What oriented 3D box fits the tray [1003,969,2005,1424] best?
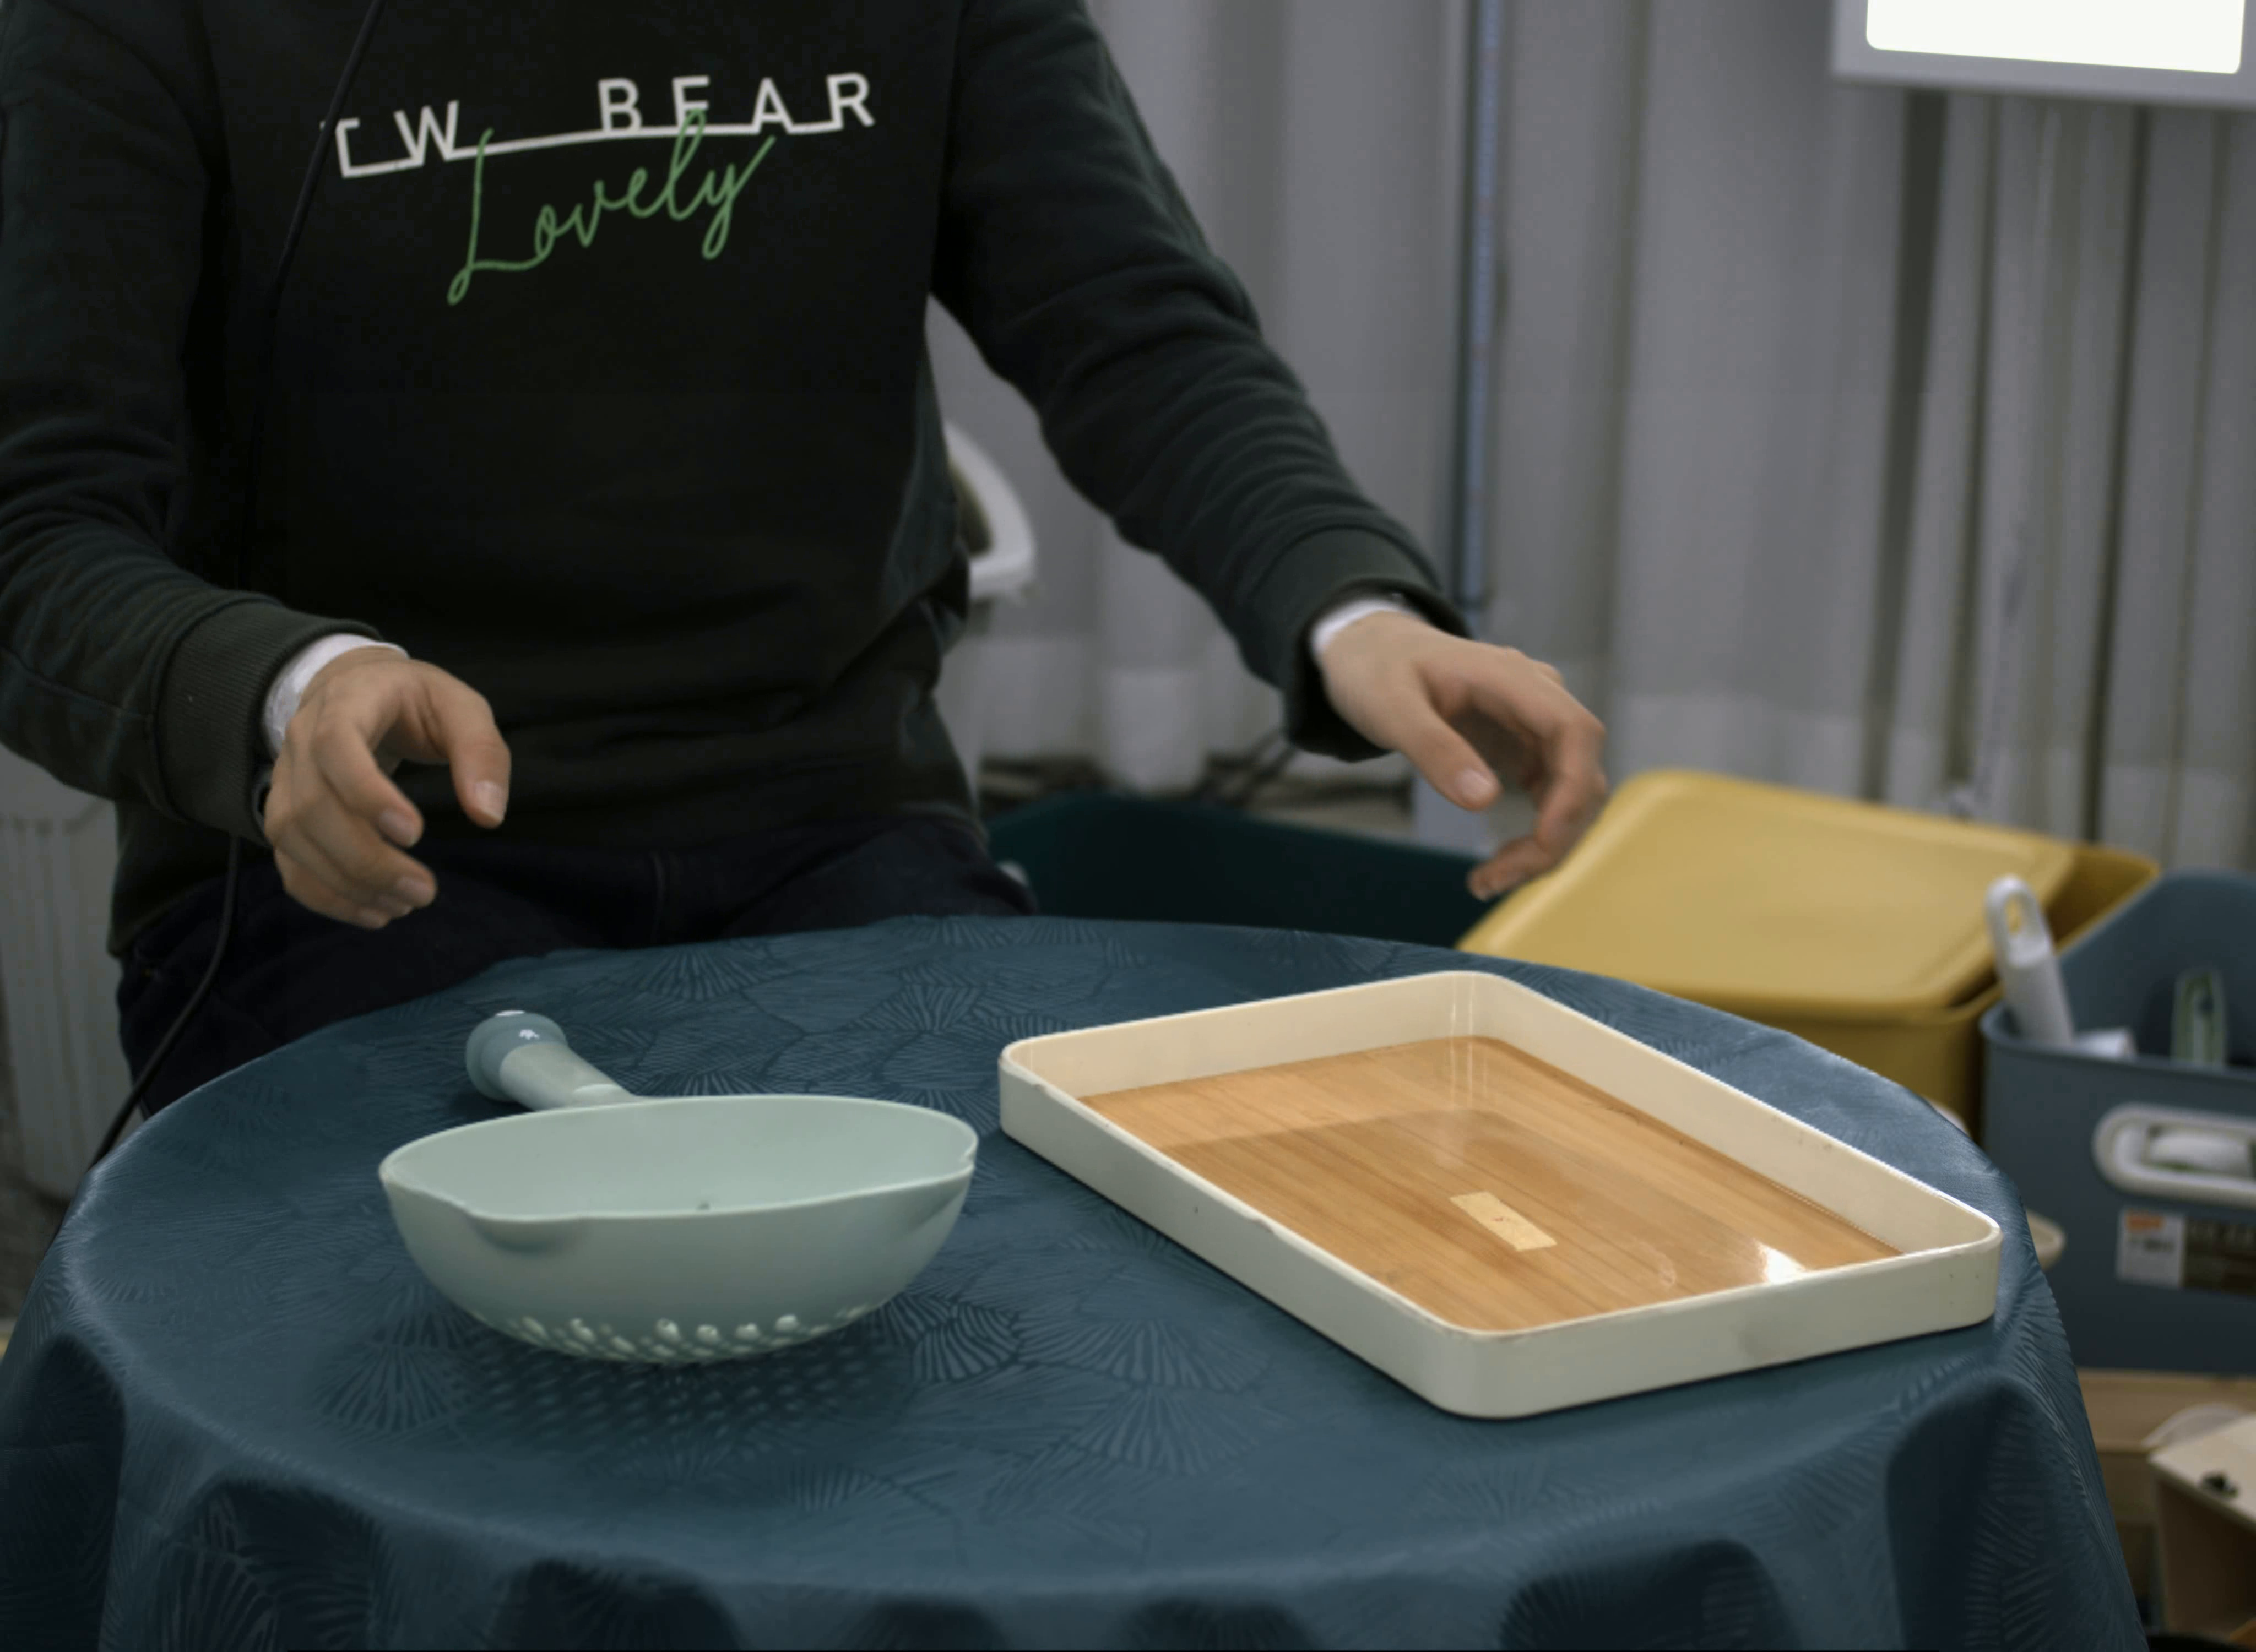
[{"bbox_3d":[0.107,0.107,1.603,0.192,0.027,0.296,-8,18,-27],"label":"tray"}]

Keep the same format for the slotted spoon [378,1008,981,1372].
[{"bbox_3d":[-0.154,0.092,1.572,0.170,0.076,0.355,-4,17,-17],"label":"slotted spoon"}]
